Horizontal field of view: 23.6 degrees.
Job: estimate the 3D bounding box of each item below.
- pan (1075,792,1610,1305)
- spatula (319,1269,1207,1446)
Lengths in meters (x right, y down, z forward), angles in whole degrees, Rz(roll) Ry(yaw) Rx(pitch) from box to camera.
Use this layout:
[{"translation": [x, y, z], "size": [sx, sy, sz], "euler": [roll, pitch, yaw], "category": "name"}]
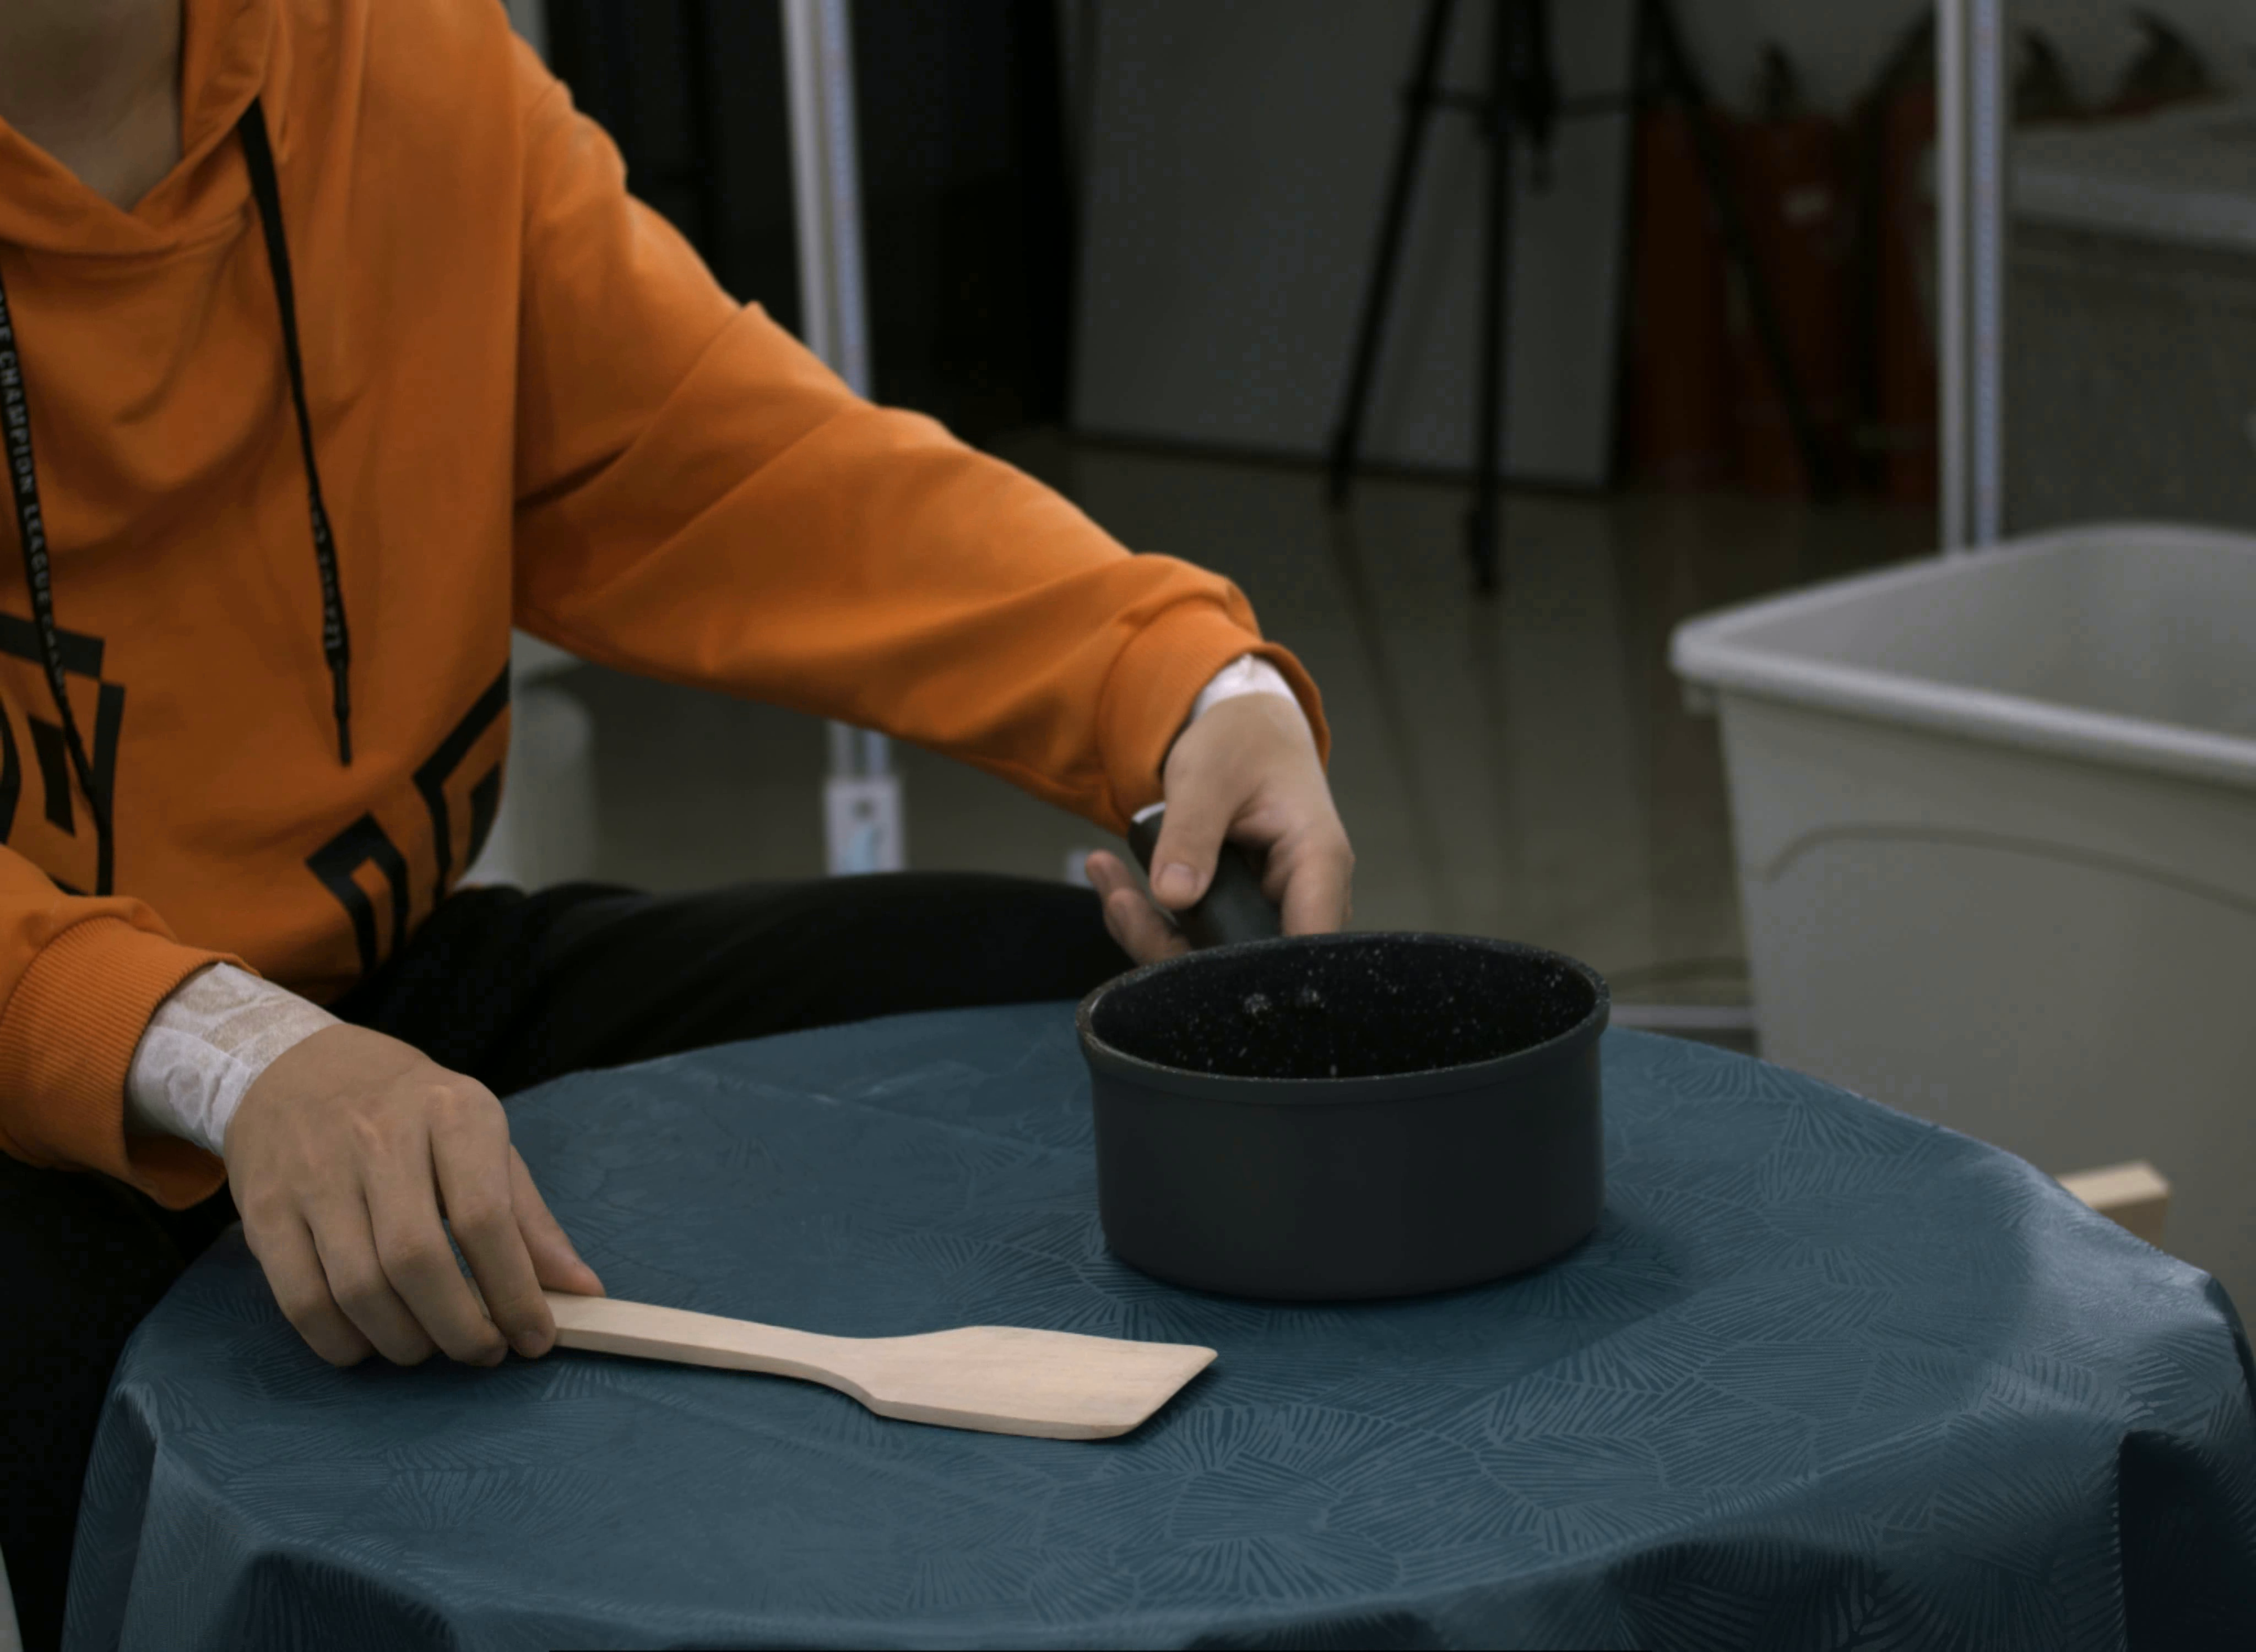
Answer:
[{"translation": [0.056, 0.070, 1.785], "size": [0.169, 0.087, 0.330], "euler": [-5, 15, -8], "category": "pan"}, {"translation": [-0.119, 0.157, 1.633], "size": [0.293, 0.011, 0.071], "euler": [4, 19, 26], "category": "spatula"}]
